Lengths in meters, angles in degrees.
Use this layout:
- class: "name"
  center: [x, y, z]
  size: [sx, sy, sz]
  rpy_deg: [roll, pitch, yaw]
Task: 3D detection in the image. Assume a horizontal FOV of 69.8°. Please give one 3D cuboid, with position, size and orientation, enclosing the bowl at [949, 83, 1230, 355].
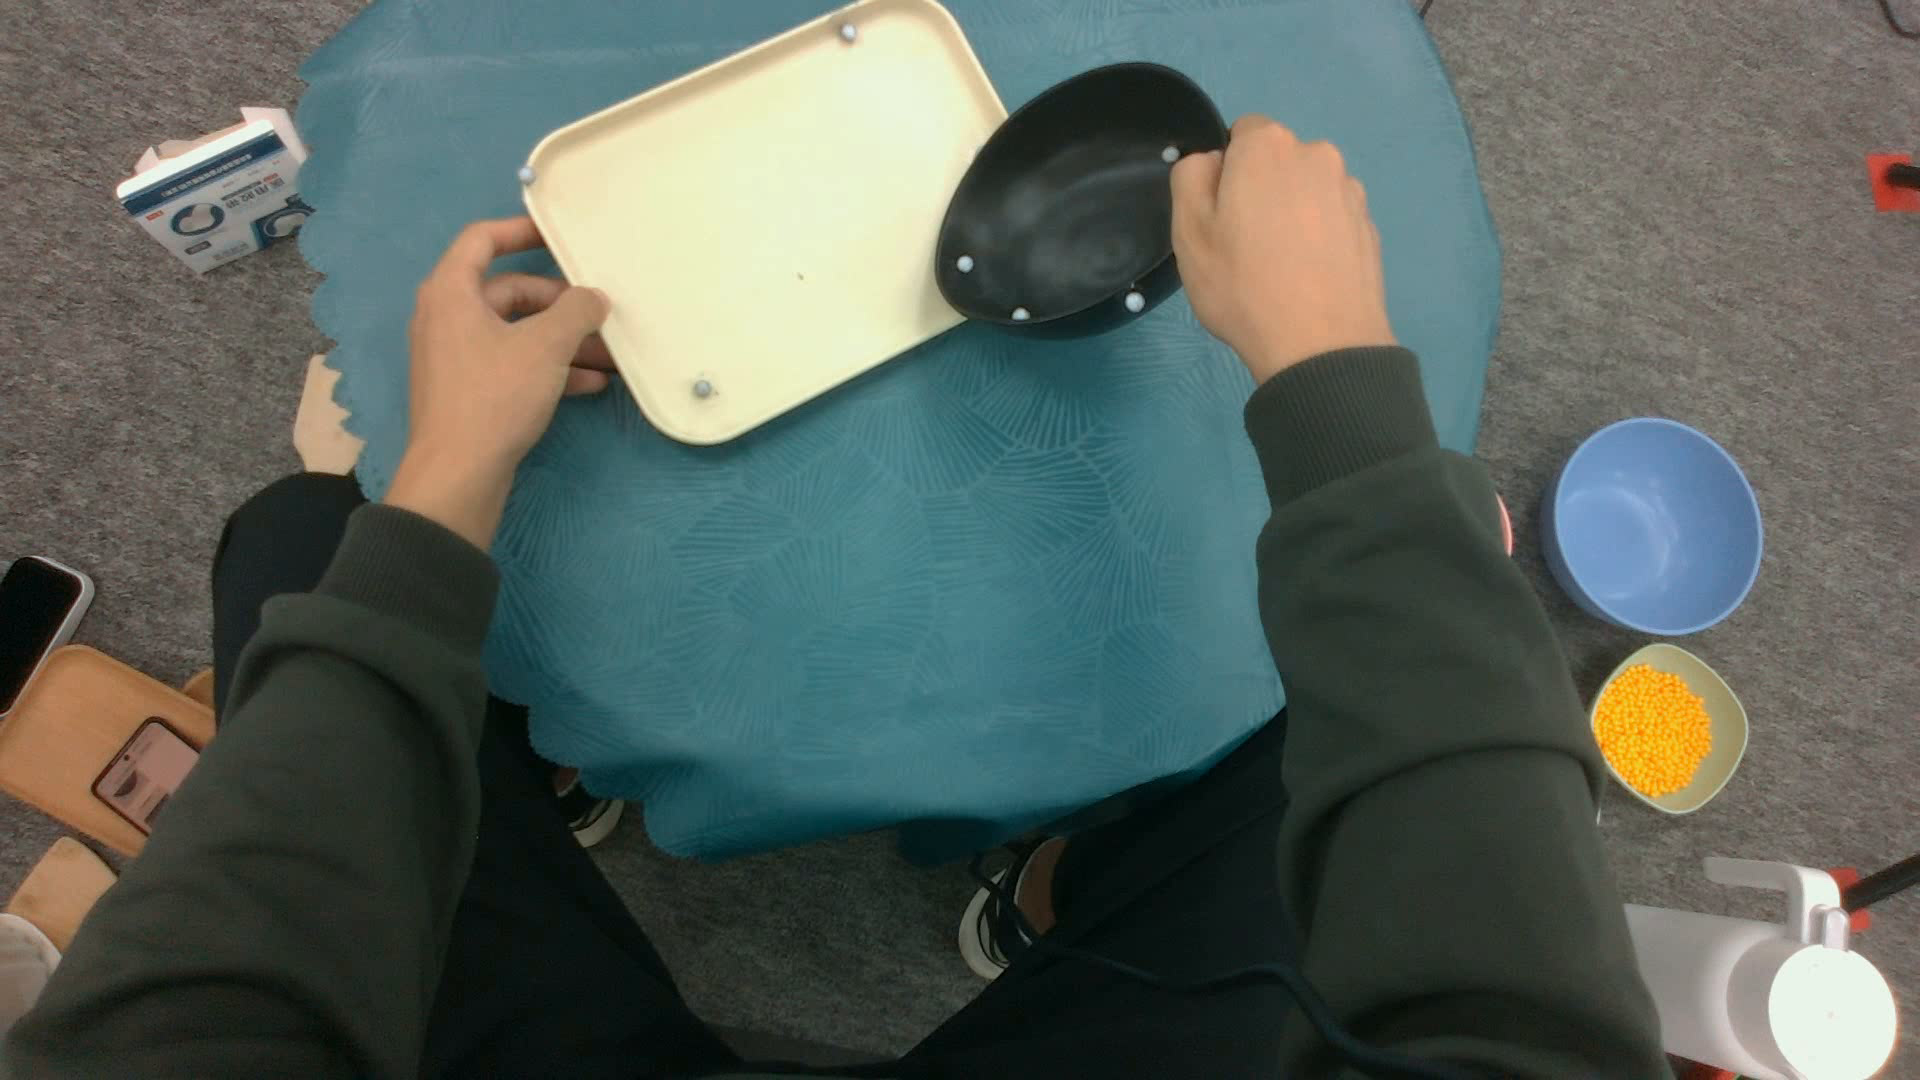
- class: "bowl"
  center: [0.067, -0.144, 0.673]
  size: [0.066, 0.170, 0.137]
  rpy_deg: [30, 71, -42]

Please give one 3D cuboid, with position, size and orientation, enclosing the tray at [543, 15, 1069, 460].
- class: "tray"
  center: [-0.075, -0.158, 0.709]
  size: [0.240, 0.017, 0.171]
  rpy_deg: [-30, 88, -14]
